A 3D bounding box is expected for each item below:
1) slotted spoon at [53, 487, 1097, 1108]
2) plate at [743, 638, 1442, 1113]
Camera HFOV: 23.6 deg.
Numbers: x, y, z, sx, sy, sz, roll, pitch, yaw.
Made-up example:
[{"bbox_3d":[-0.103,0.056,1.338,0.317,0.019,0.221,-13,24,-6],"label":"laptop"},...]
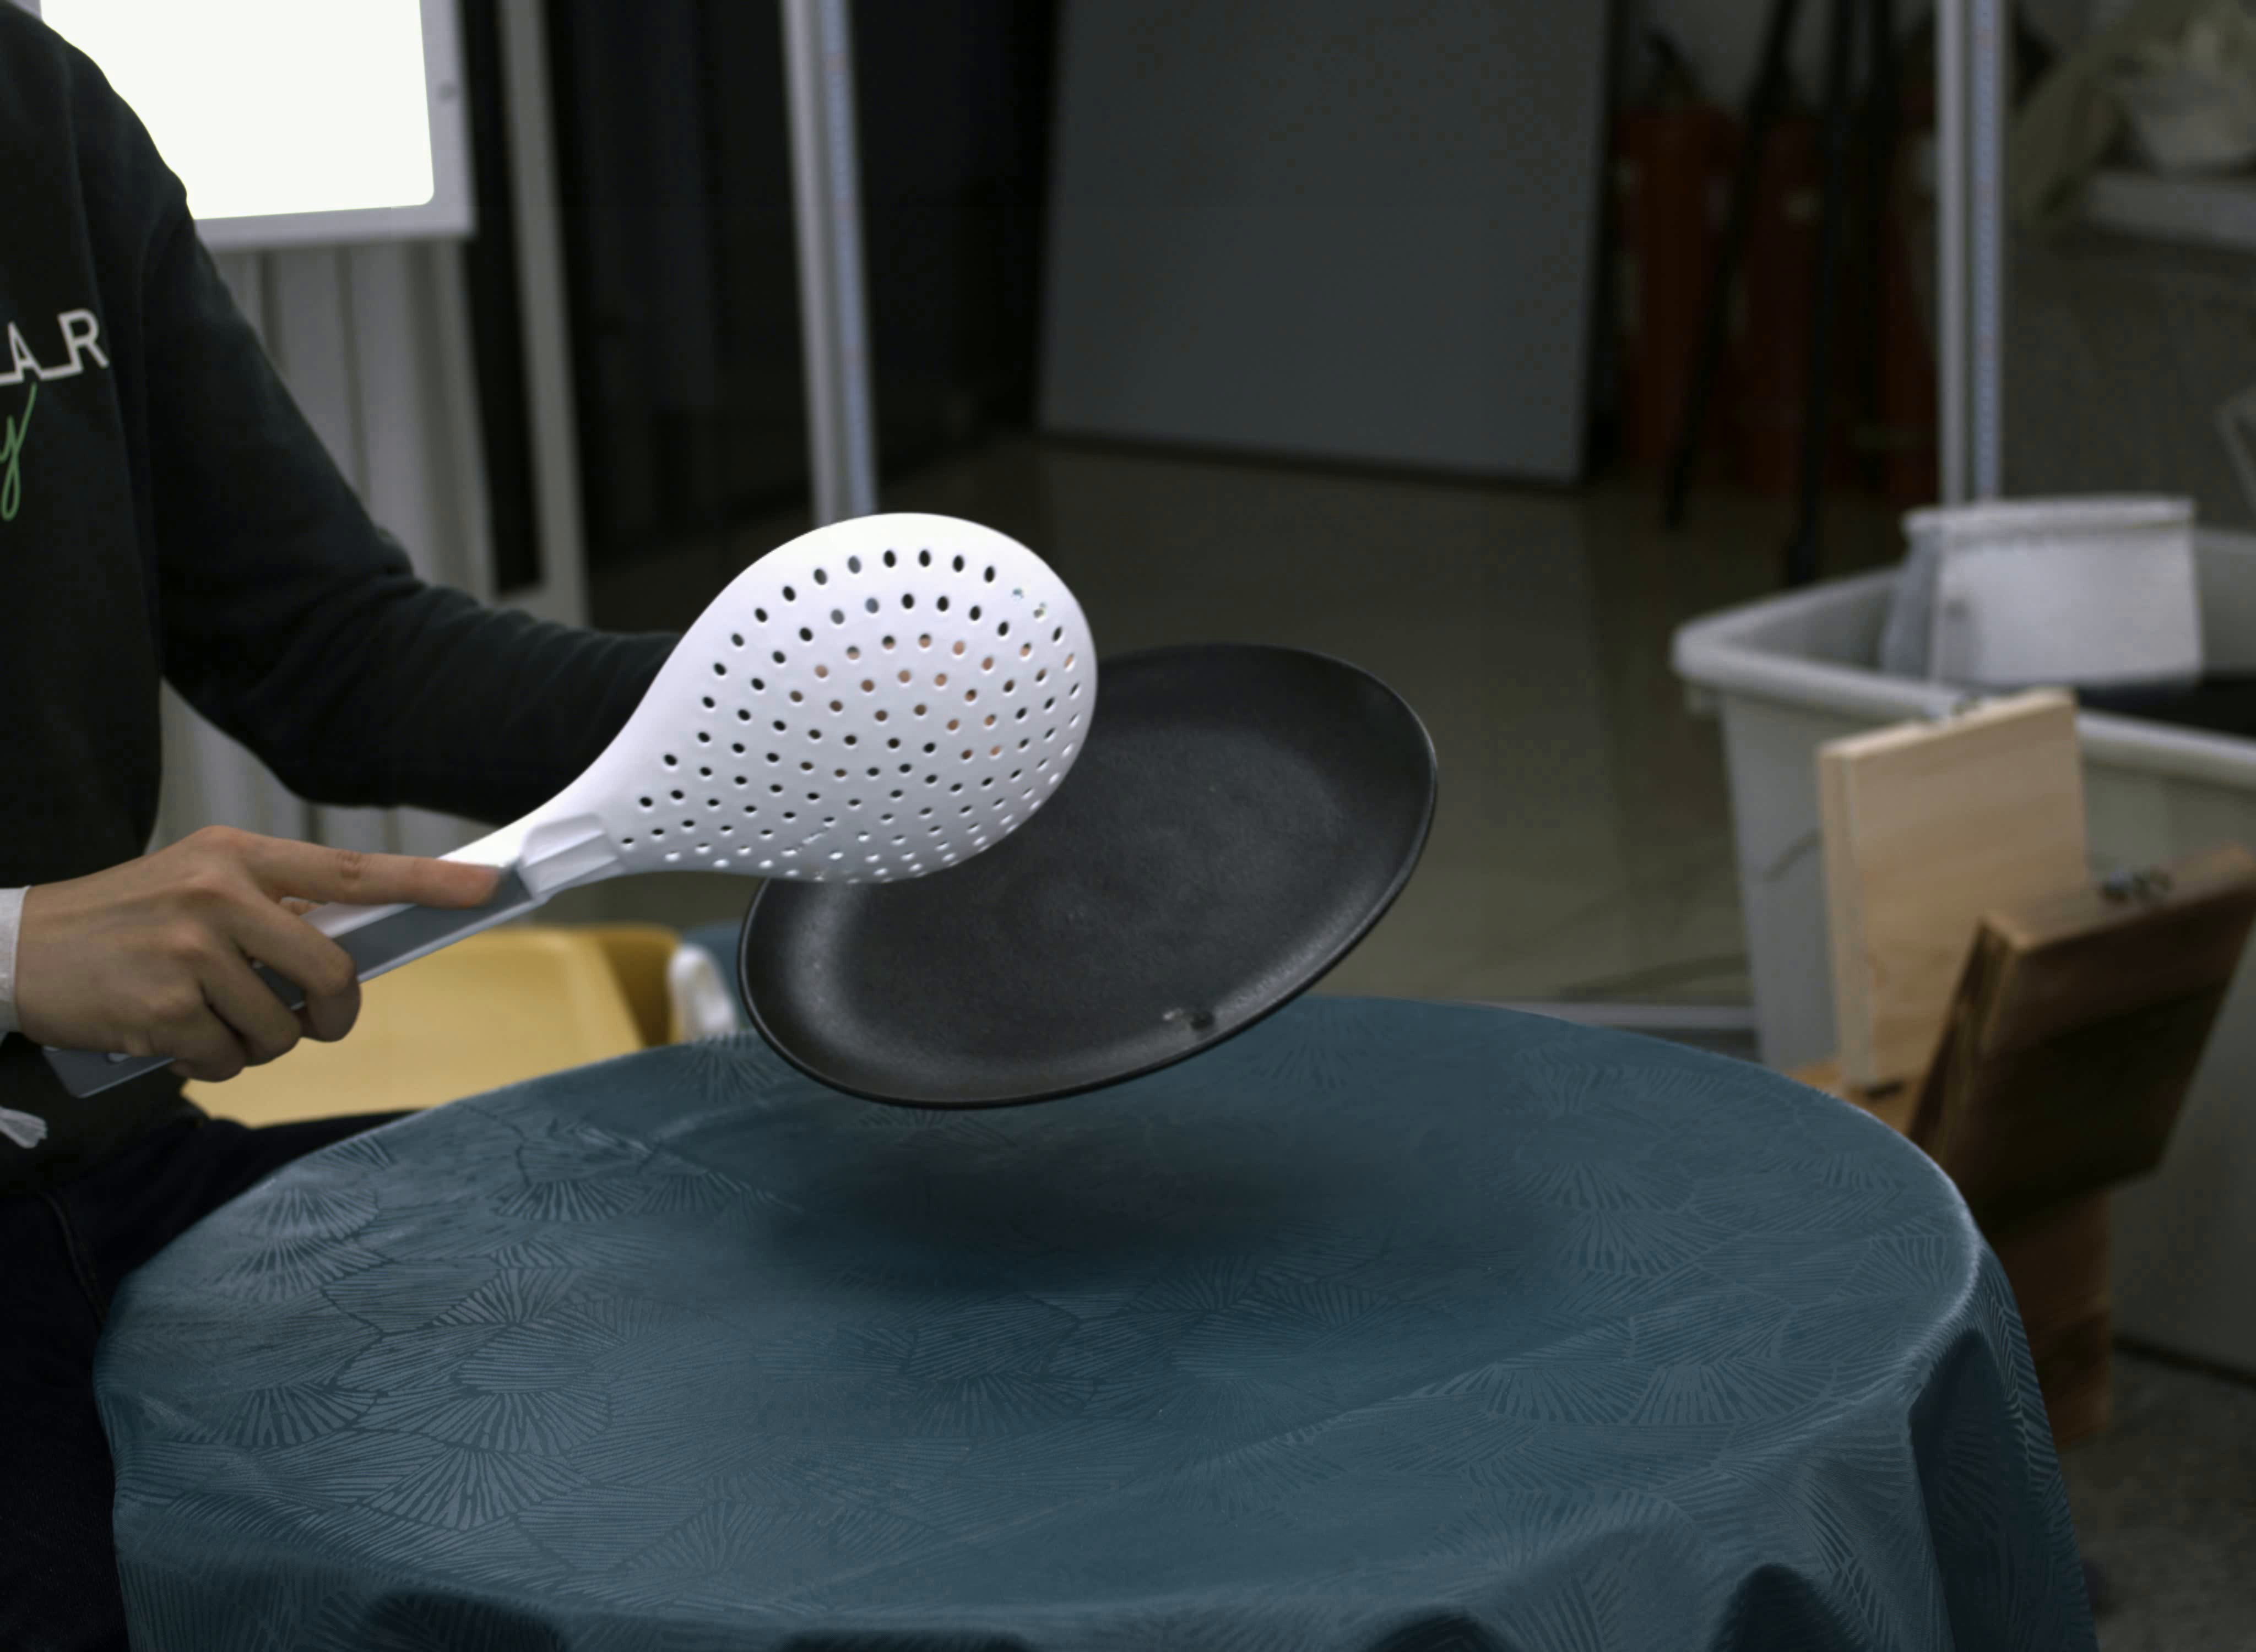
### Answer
[{"bbox_3d":[-0.171,0.005,1.672,0.347,0.136,0.046,-22,34,7],"label":"slotted spoon"},{"bbox_3d":[-0.010,0.020,1.769,0.243,0.023,0.246,-16,33,10],"label":"plate"}]
